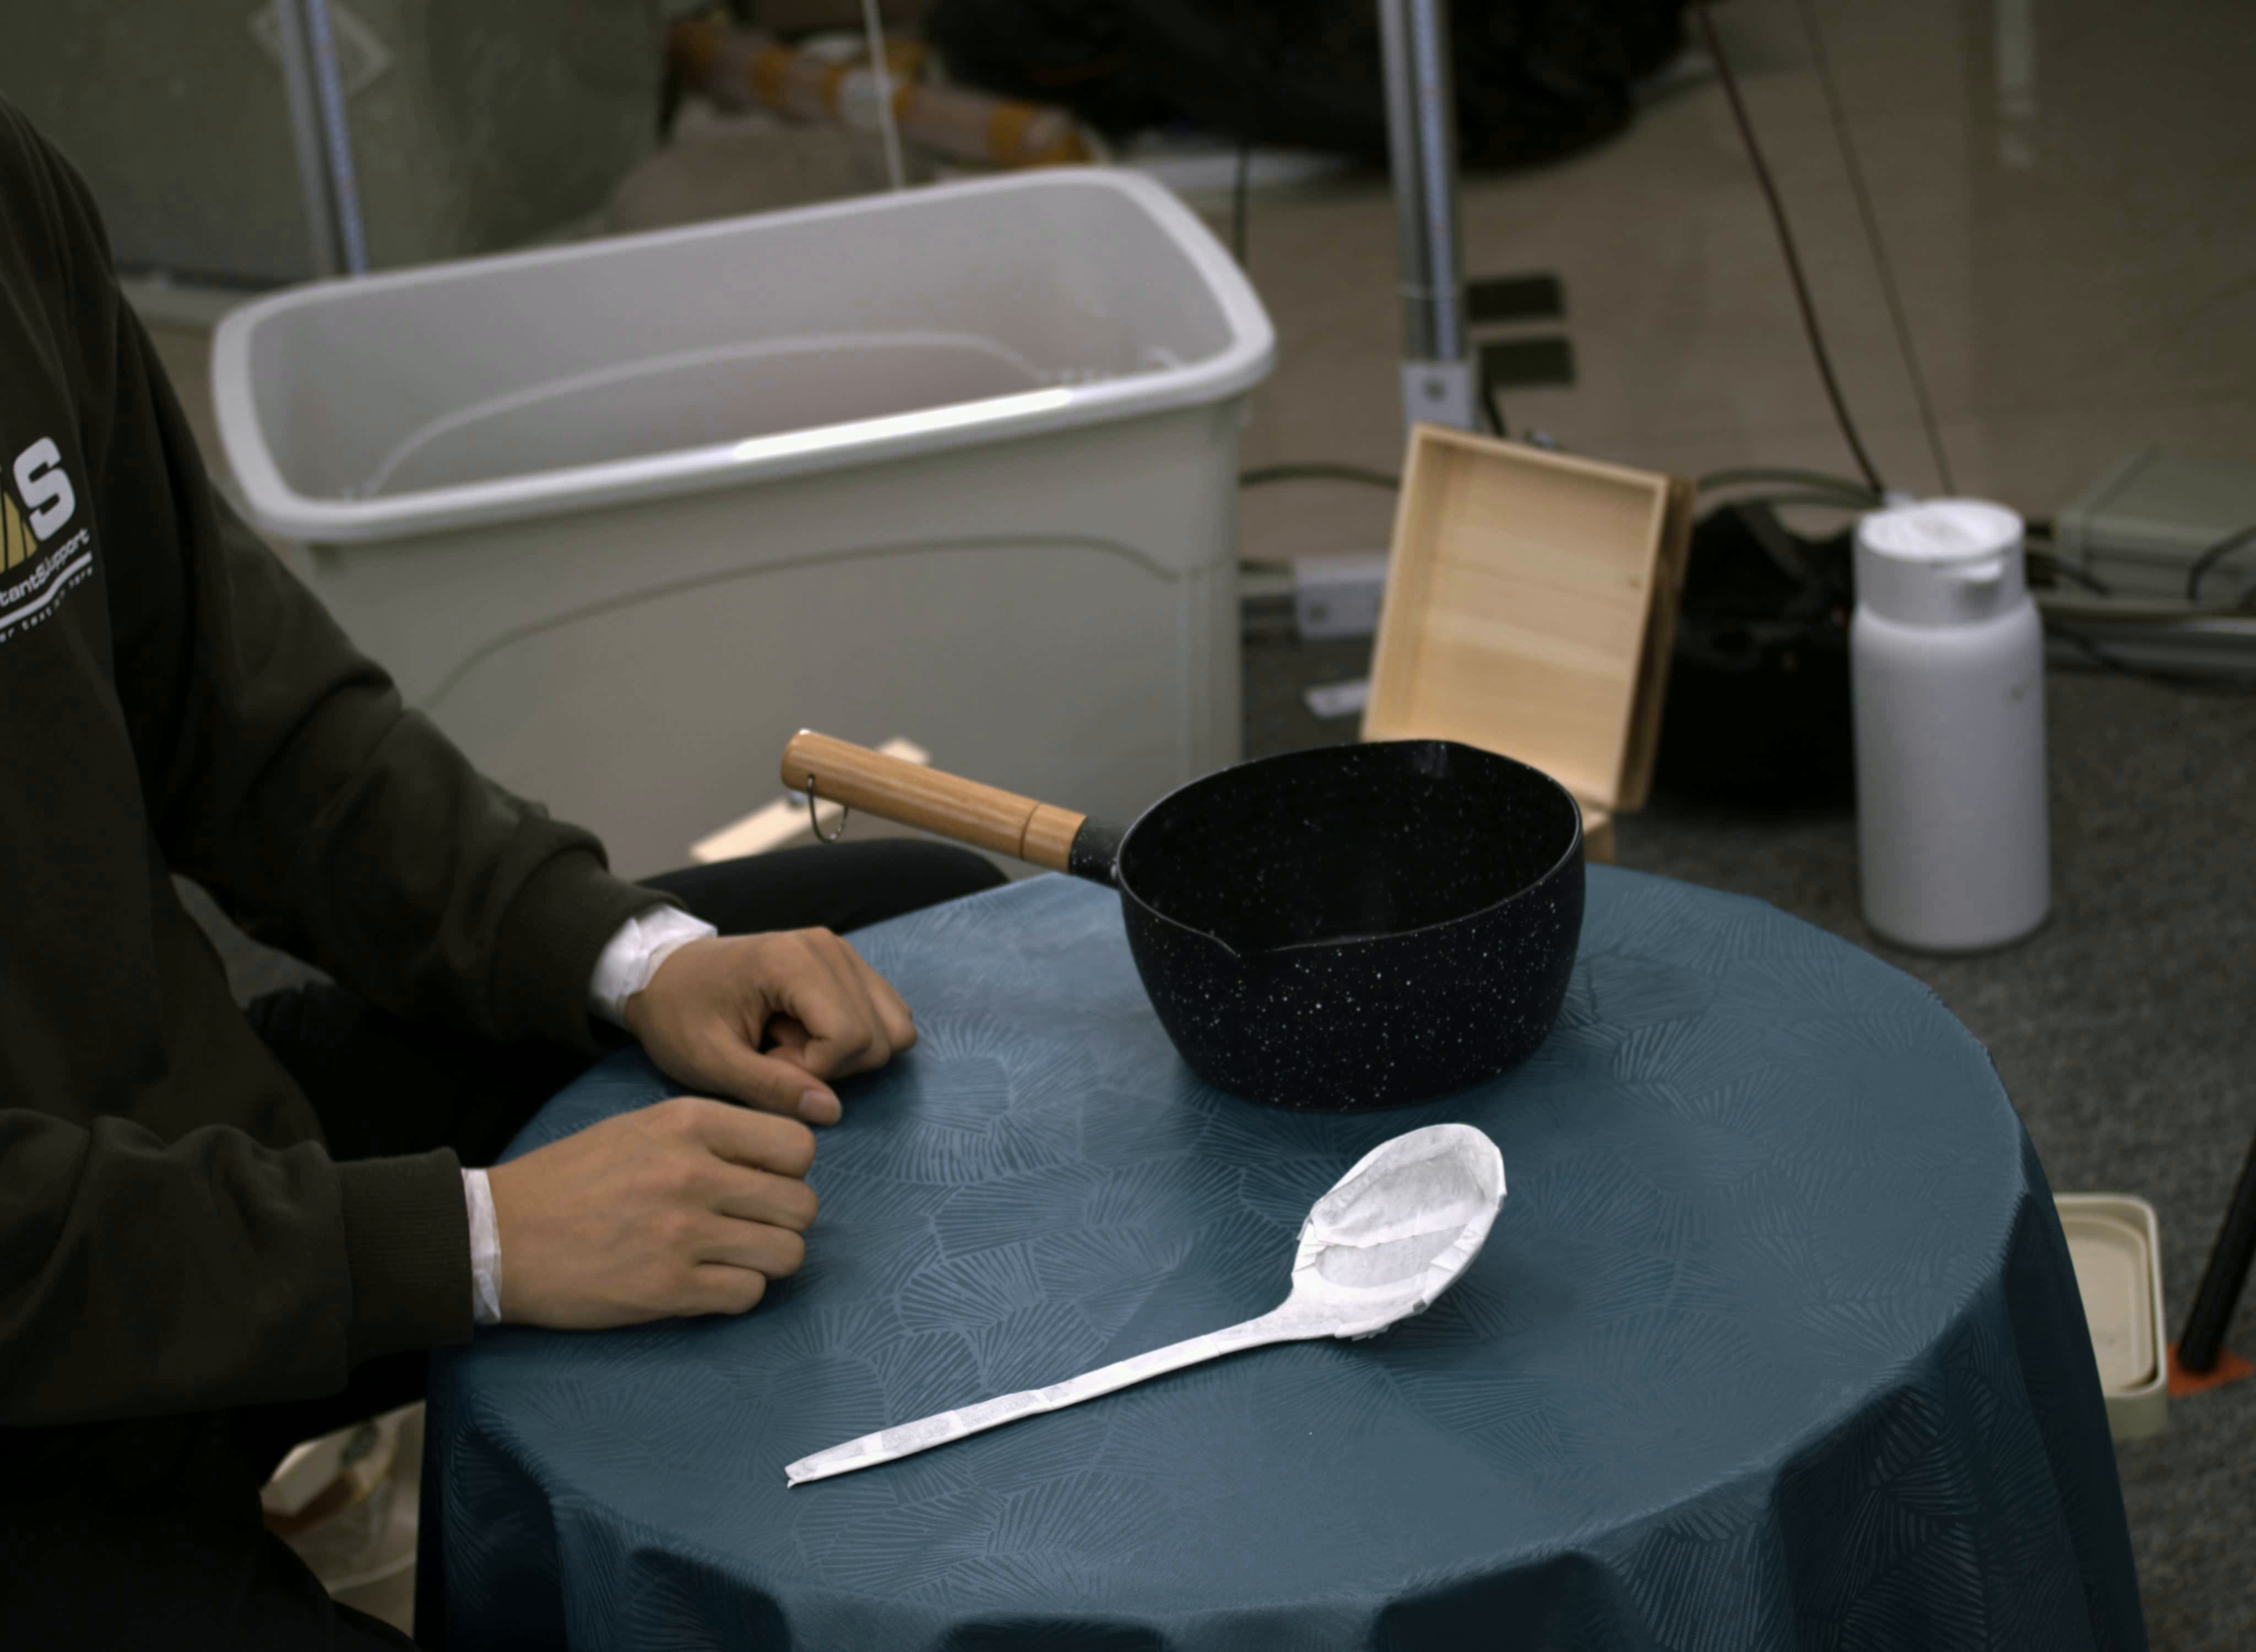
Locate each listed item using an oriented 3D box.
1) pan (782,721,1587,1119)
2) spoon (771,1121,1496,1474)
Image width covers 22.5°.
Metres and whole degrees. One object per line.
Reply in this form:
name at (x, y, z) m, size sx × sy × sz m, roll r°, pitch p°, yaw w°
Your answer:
pan at (0.017, 0.026, 2.262) m, size 0.341 × 0.110 × 0.205 m, roll 6°, pitch 29°, yaw 23°
spoon at (0.001, 0.167, 2.023) m, size 0.276 × 0.060 × 0.099 m, roll -14°, pitch 22°, yaw -14°
